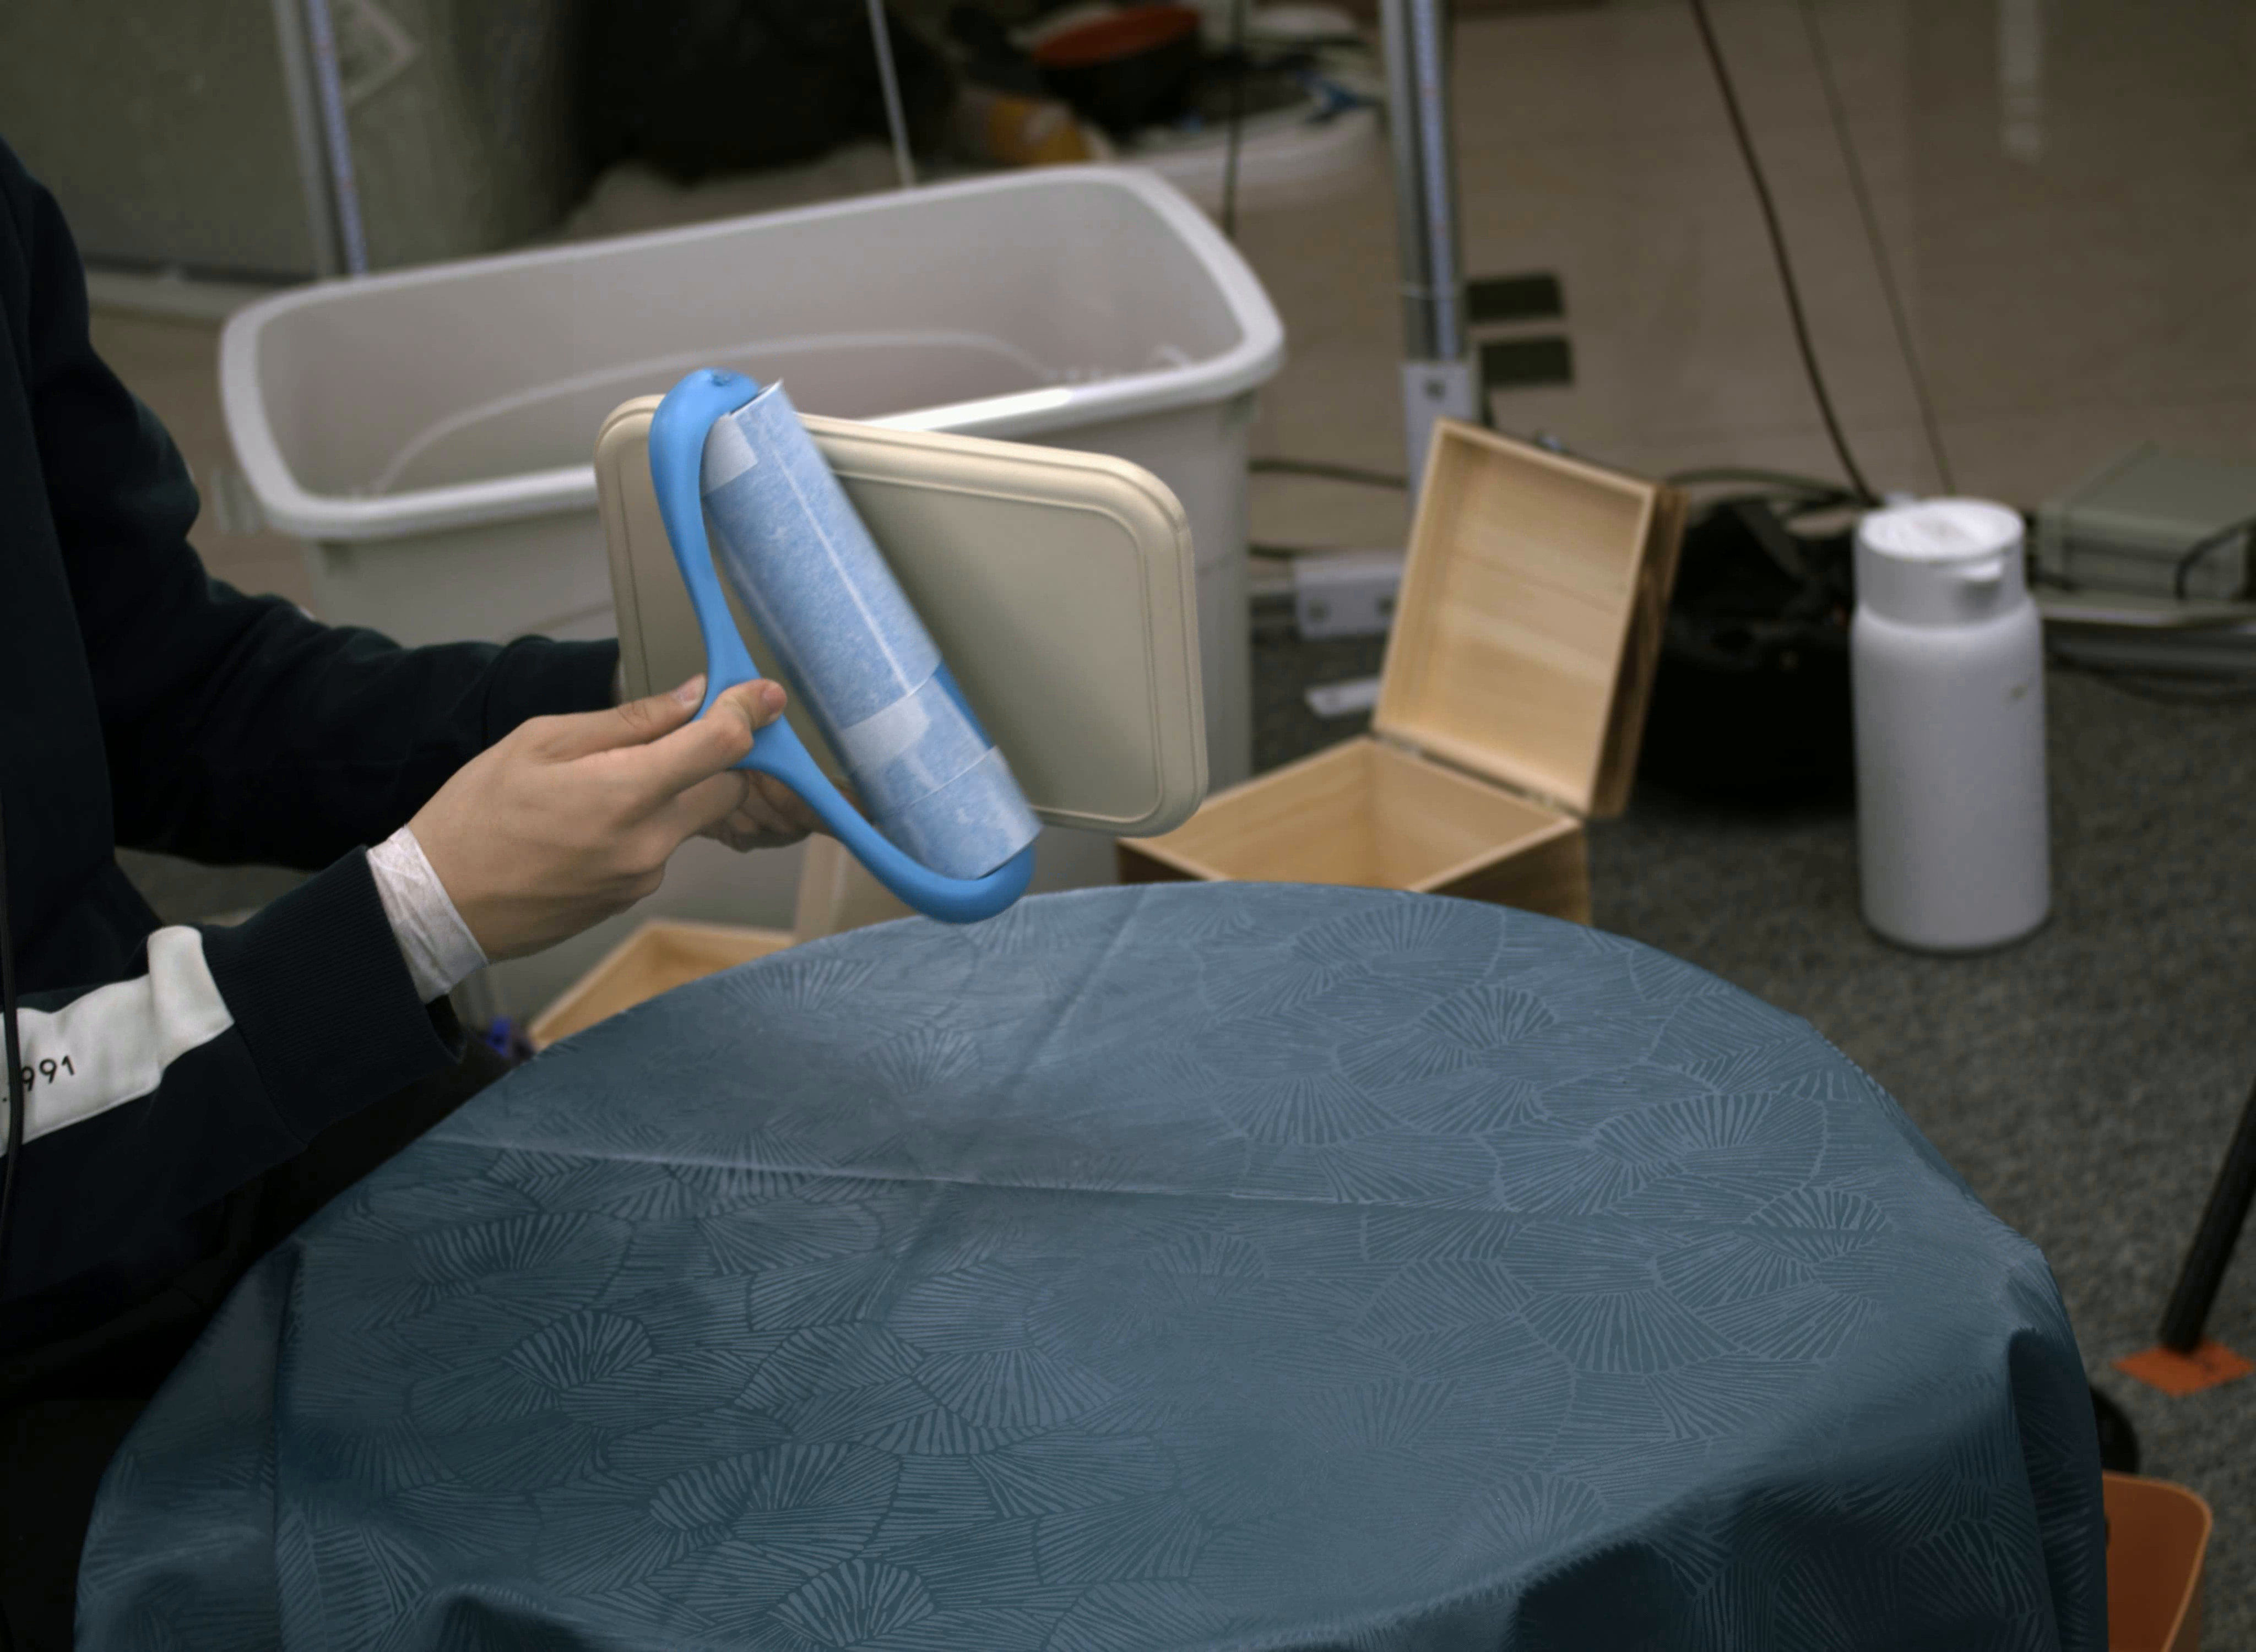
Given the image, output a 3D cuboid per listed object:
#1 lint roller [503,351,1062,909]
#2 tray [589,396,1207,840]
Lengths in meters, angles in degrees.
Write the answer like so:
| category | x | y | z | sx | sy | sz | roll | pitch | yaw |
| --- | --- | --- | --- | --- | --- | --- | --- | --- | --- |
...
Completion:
| category | x | y | z | sx | sy | sz | roll | pitch | yaw |
| --- | --- | --- | --- | --- | --- | --- | --- | --- | --- |
| lint roller | -0.143 | -0.038 | 2.050 | 0.179 | 0.230 | 0.068 | -36 | 12 | -12 |
| tray | -0.088 | -0.075 | 2.120 | 0.239 | 0.174 | 0.017 | 9 | 40 | 18 |
